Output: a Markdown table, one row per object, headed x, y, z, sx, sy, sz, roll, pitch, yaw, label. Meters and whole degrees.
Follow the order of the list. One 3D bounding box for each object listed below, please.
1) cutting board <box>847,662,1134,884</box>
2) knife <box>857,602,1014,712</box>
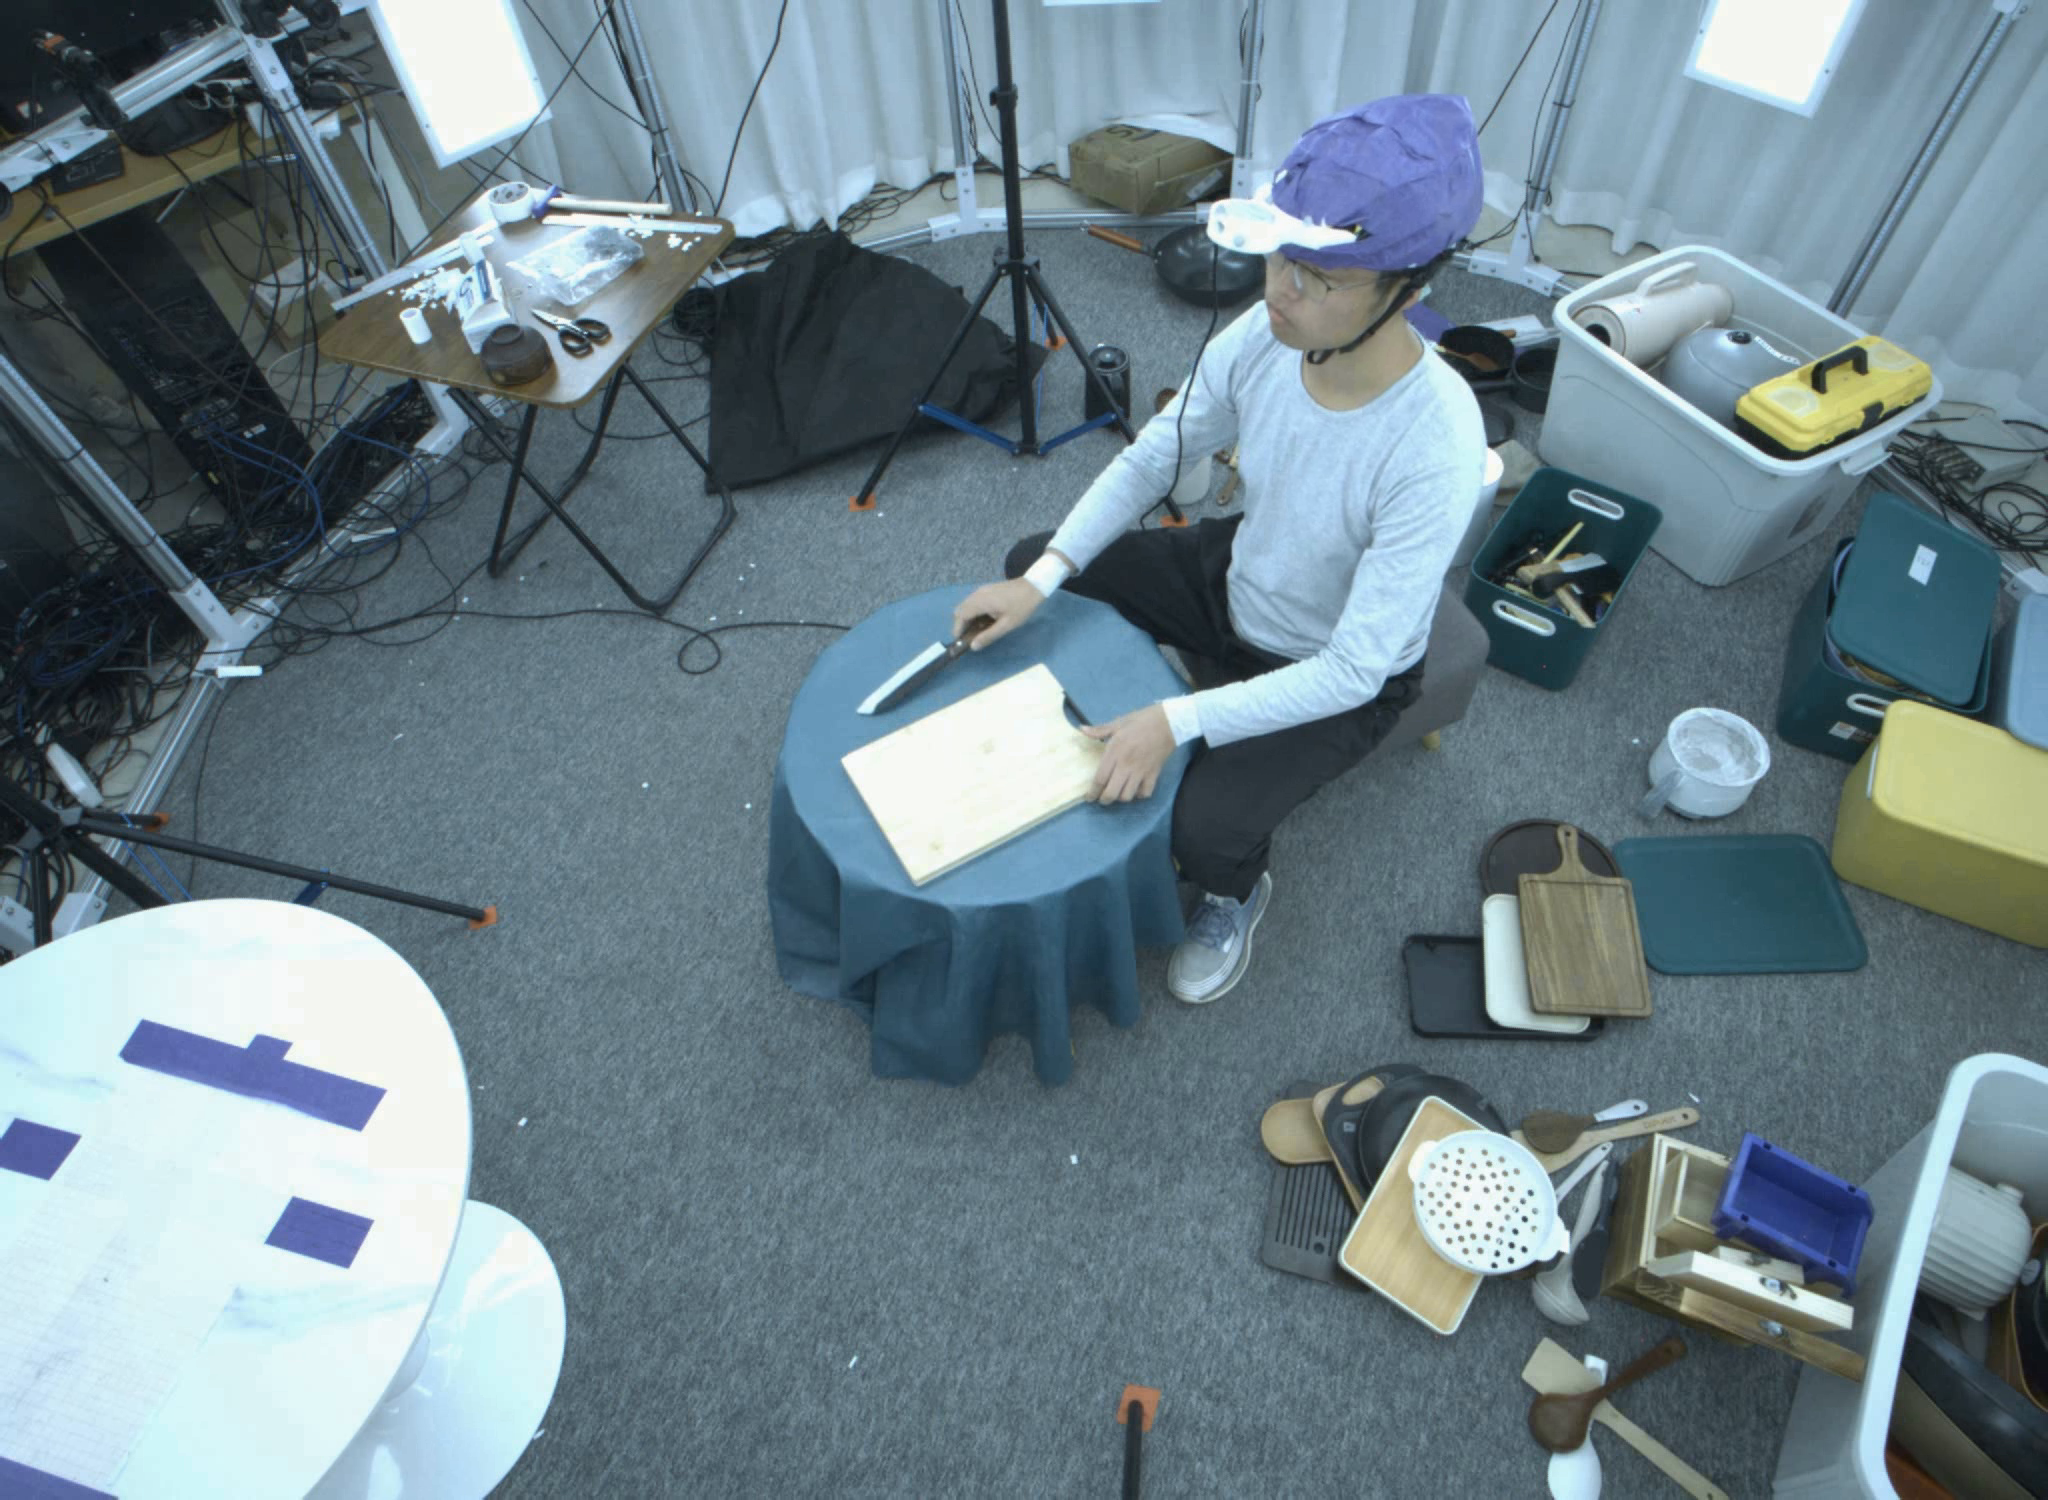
| x | y | z | sx | sy | sz | roll | pitch | yaw | label |
| --- | --- | --- | --- | --- | --- | --- | --- | --- | --- |
| -0.054 | 0.024 | 1.769 | 0.351 | 0.024 | 0.246 | -27 | 58 | -17 | cutting board |
| -0.134 | -0.140 | 1.865 | 0.290 | 0.020 | 0.049 | -36 | 58 | -13 | knife |
